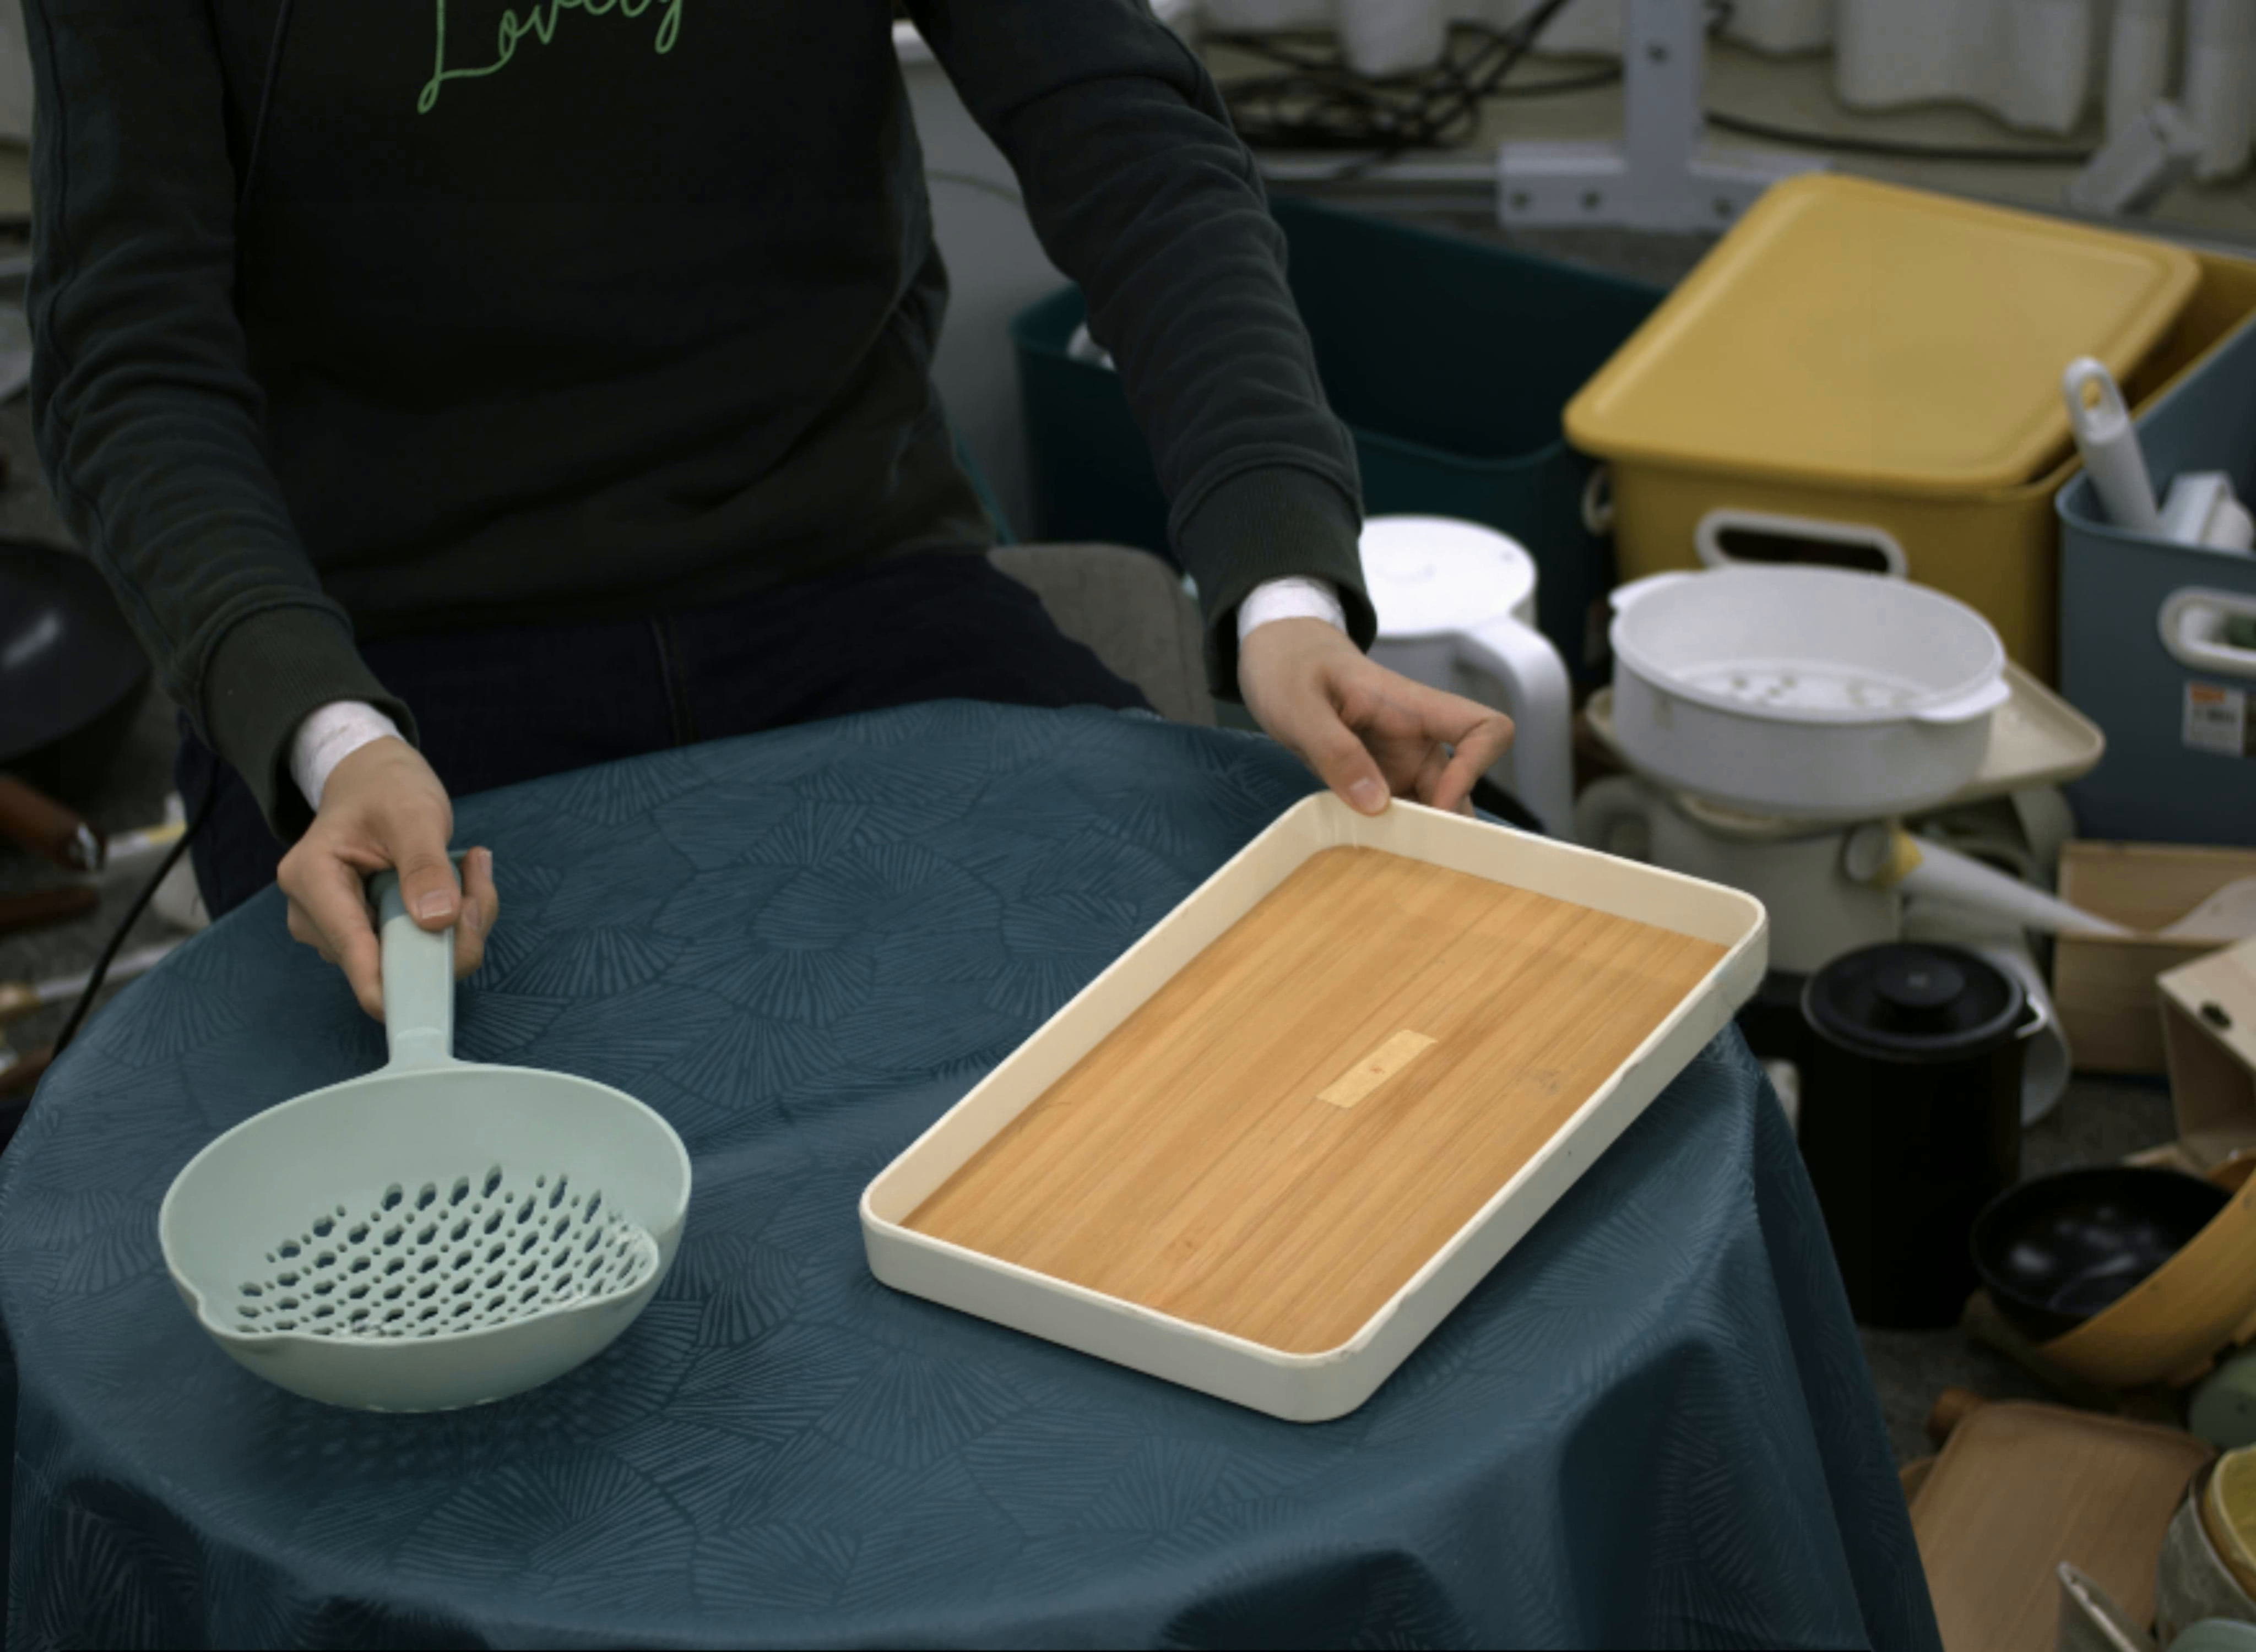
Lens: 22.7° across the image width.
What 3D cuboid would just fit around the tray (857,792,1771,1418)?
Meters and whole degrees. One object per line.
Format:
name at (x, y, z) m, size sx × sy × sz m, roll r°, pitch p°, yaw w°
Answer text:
tray at (0.066, 0.086, 1.873) m, size 0.190 × 0.027 × 0.305 m, roll 15°, pitch 36°, yaw 31°

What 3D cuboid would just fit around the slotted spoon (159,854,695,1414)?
slotted spoon at (-0.232, 0.086, 1.862) m, size 0.169 × 0.074 × 0.364 m, roll -5°, pitch 34°, yaw -6°
